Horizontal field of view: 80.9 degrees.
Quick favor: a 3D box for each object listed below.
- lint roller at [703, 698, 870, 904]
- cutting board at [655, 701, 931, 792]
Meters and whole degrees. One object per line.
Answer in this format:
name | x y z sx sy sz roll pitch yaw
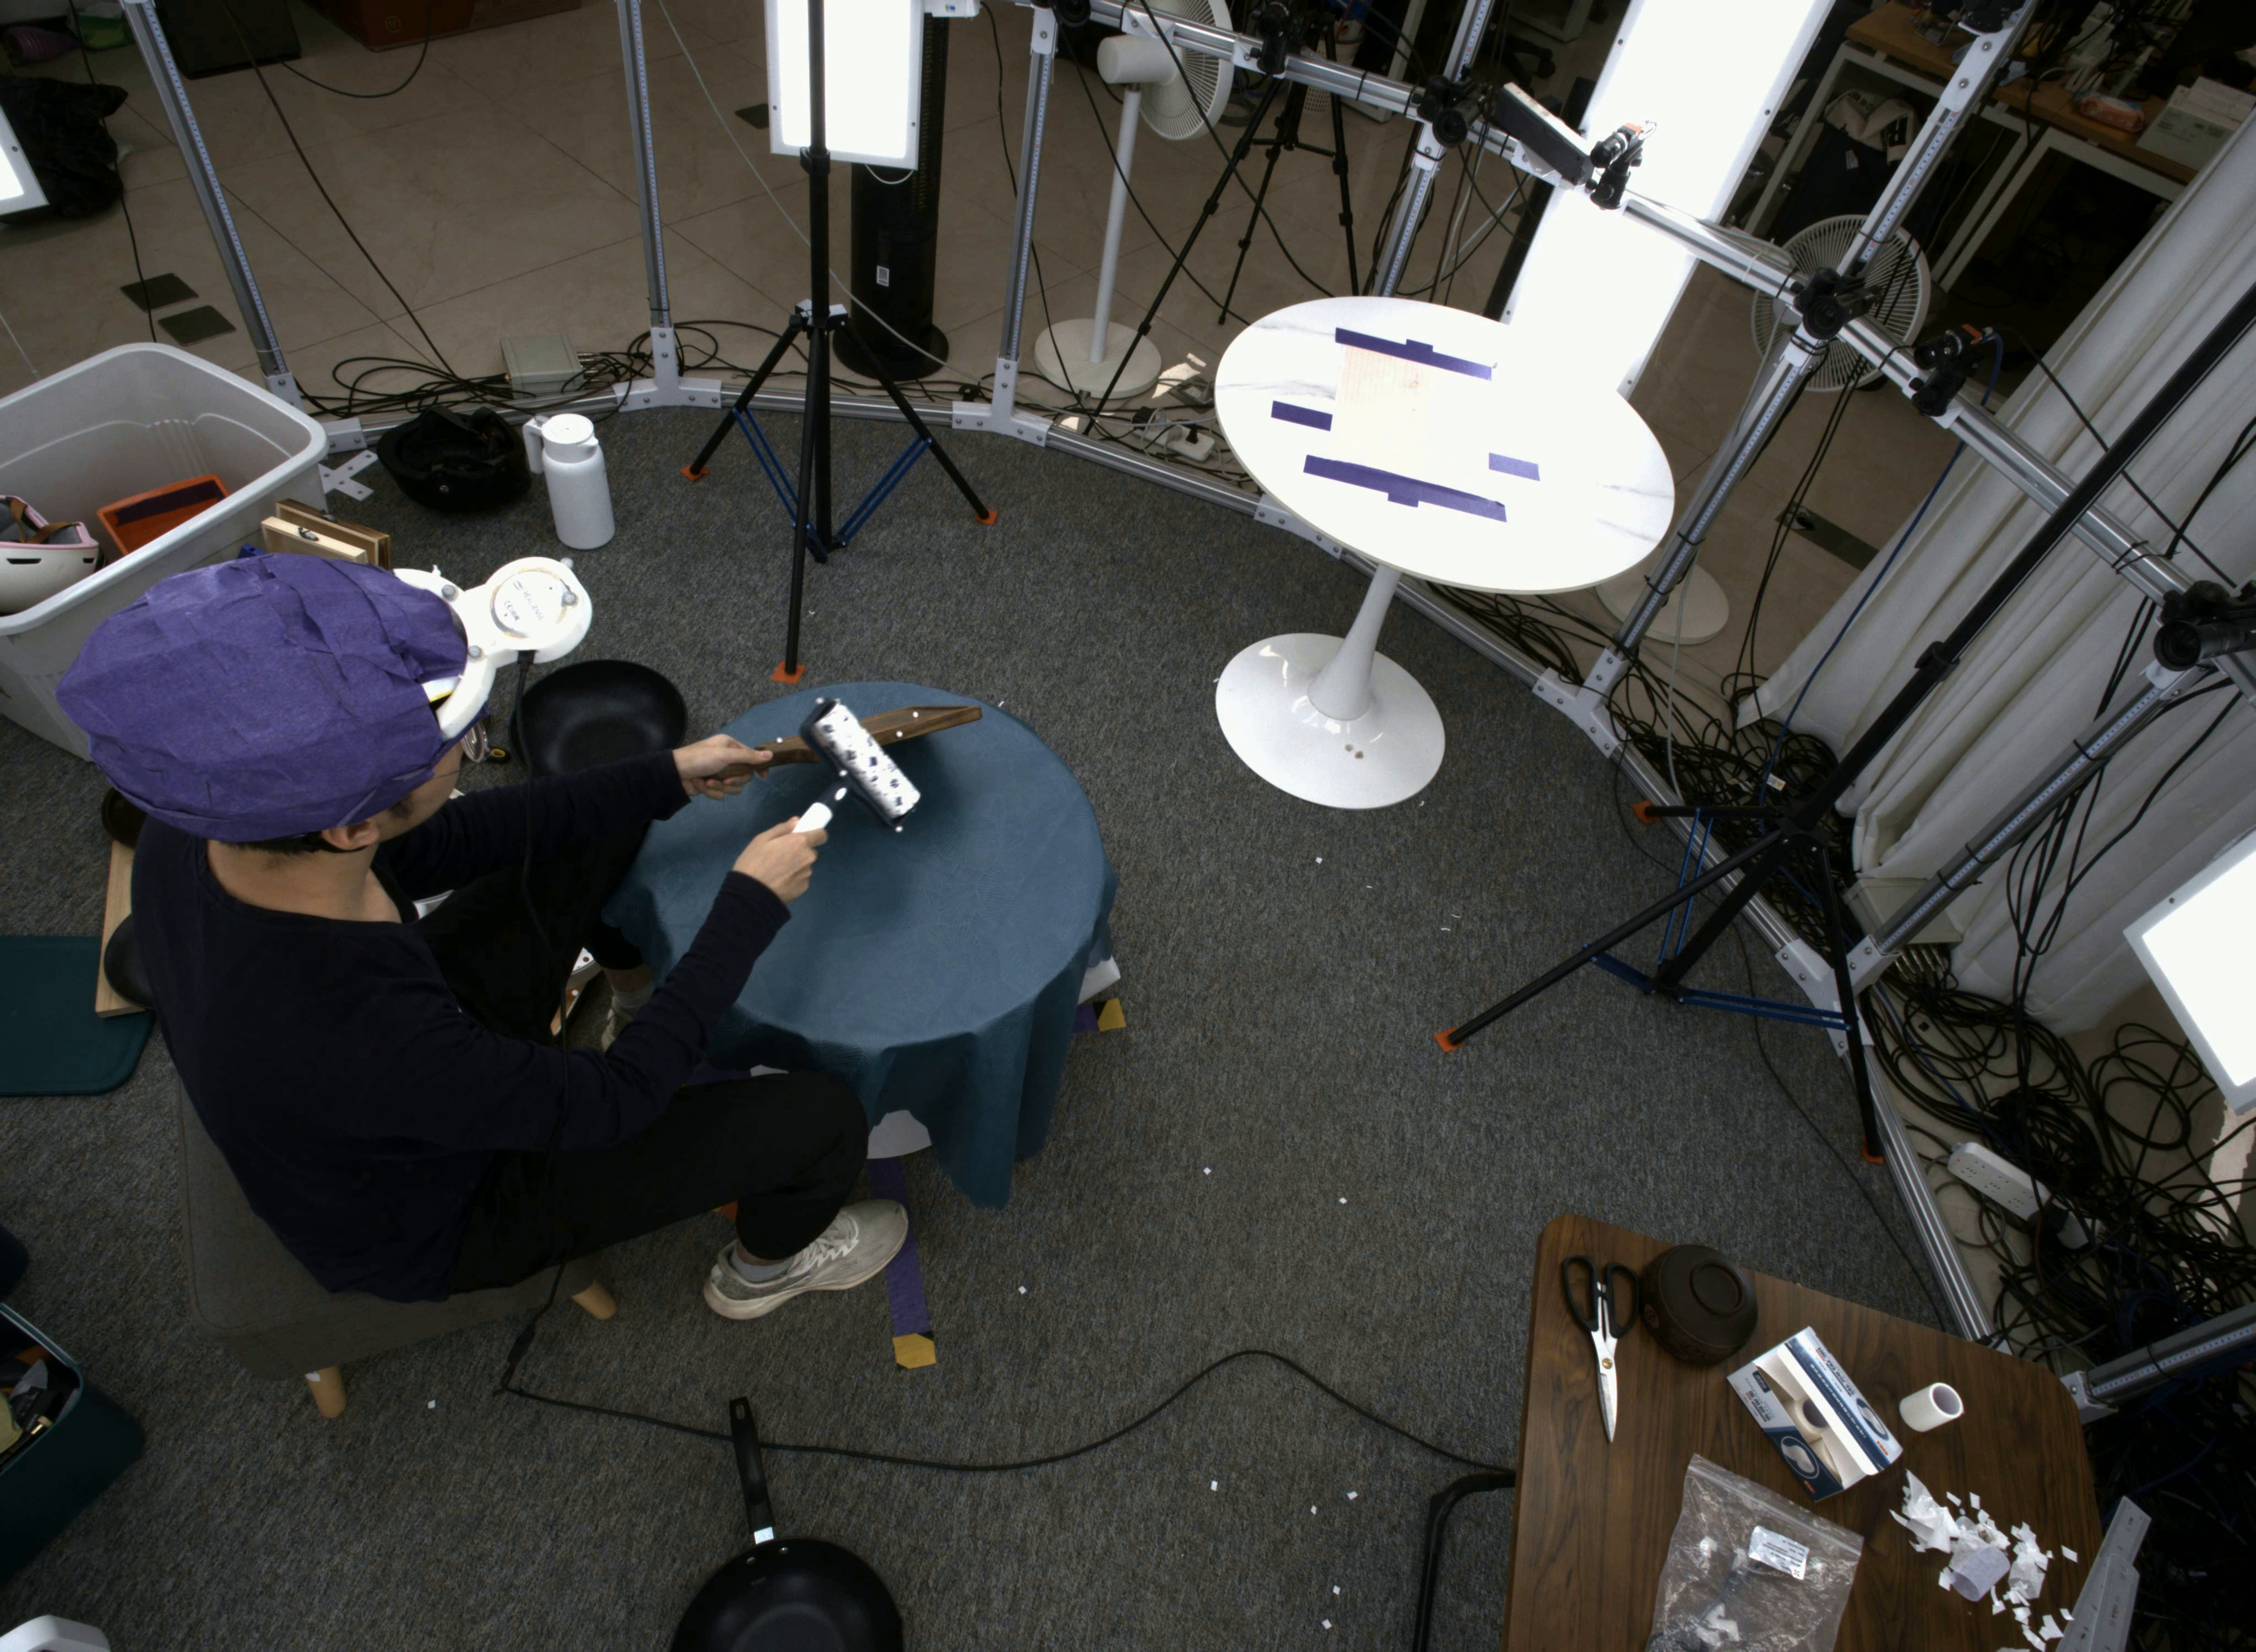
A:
lint roller | -0.421 -0.007 1.530 0.182 0.049 0.245 52 48 -31
cutting board | -0.450 -0.106 1.684 0.355 0.194 0.024 -23 107 -37
